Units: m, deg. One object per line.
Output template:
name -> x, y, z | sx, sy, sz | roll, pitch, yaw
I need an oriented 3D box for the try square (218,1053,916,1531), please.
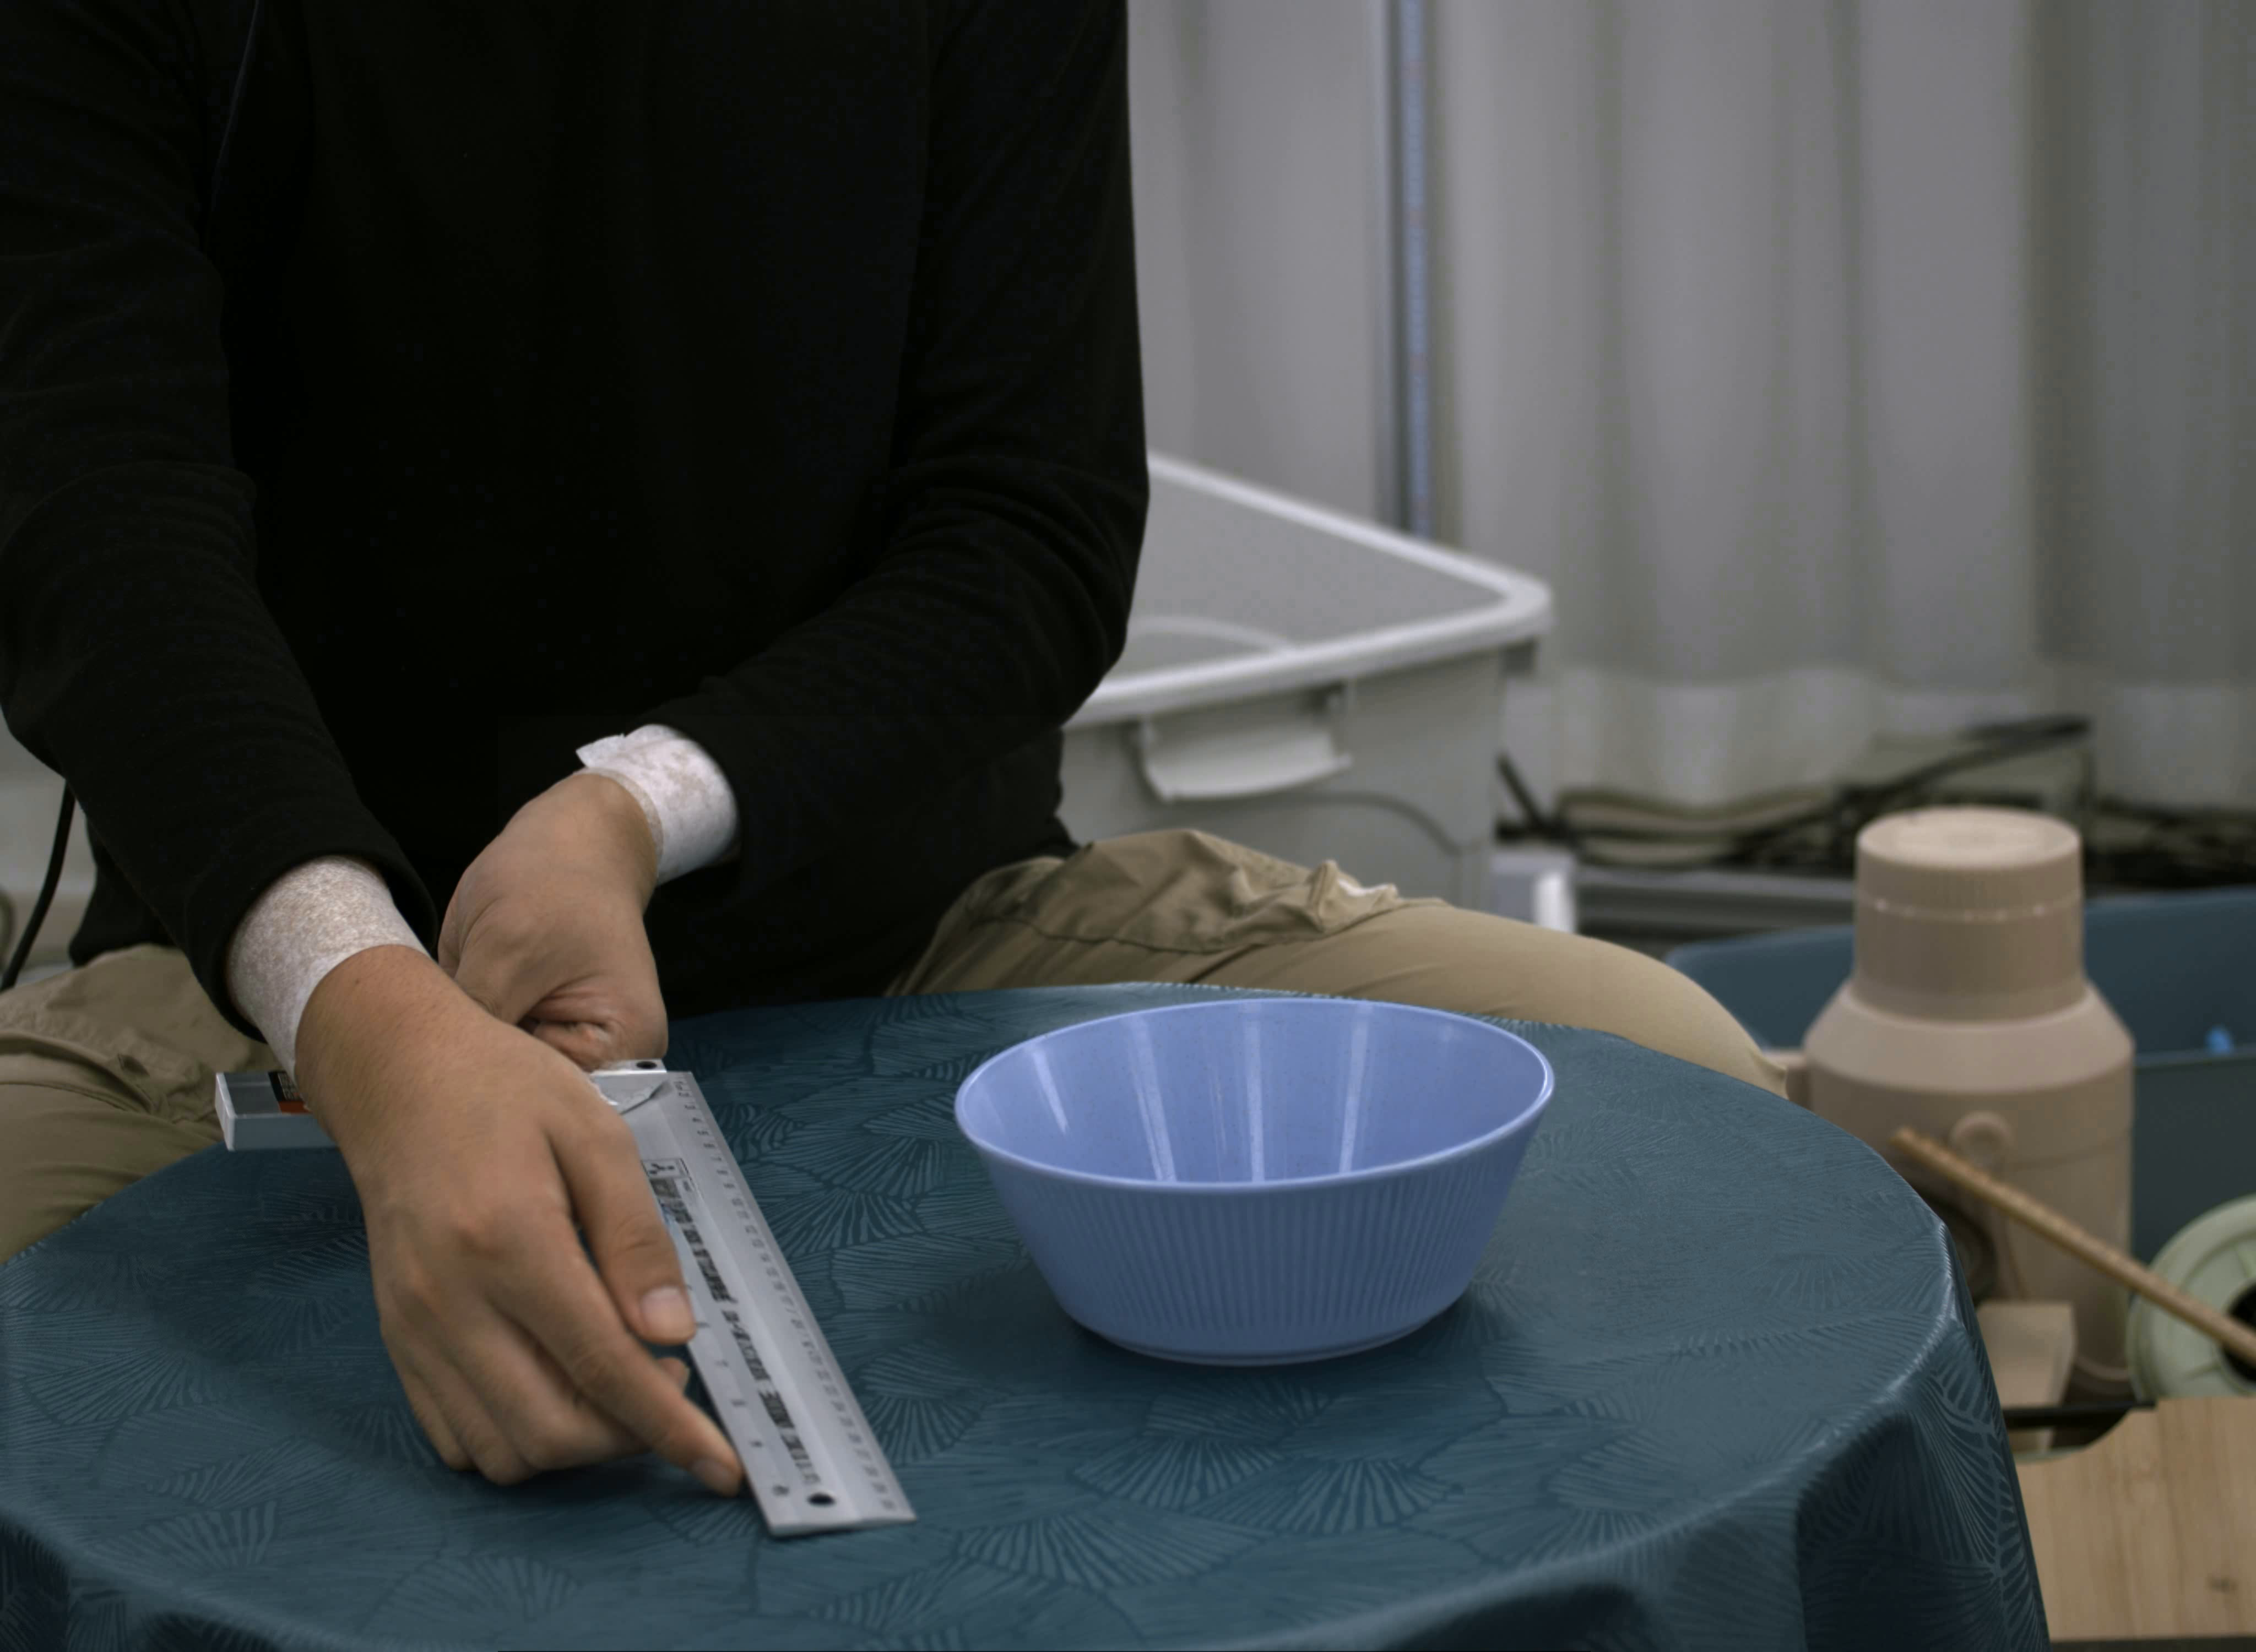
try square -> -0.170, 0.135, 1.580 | 0.151, 0.016, 0.316 | -4, 21, -14

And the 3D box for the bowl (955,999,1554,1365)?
bowl -> 0.038, 0.107, 1.602 | 0.175, 0.070, 0.177 | -3, 15, 1
